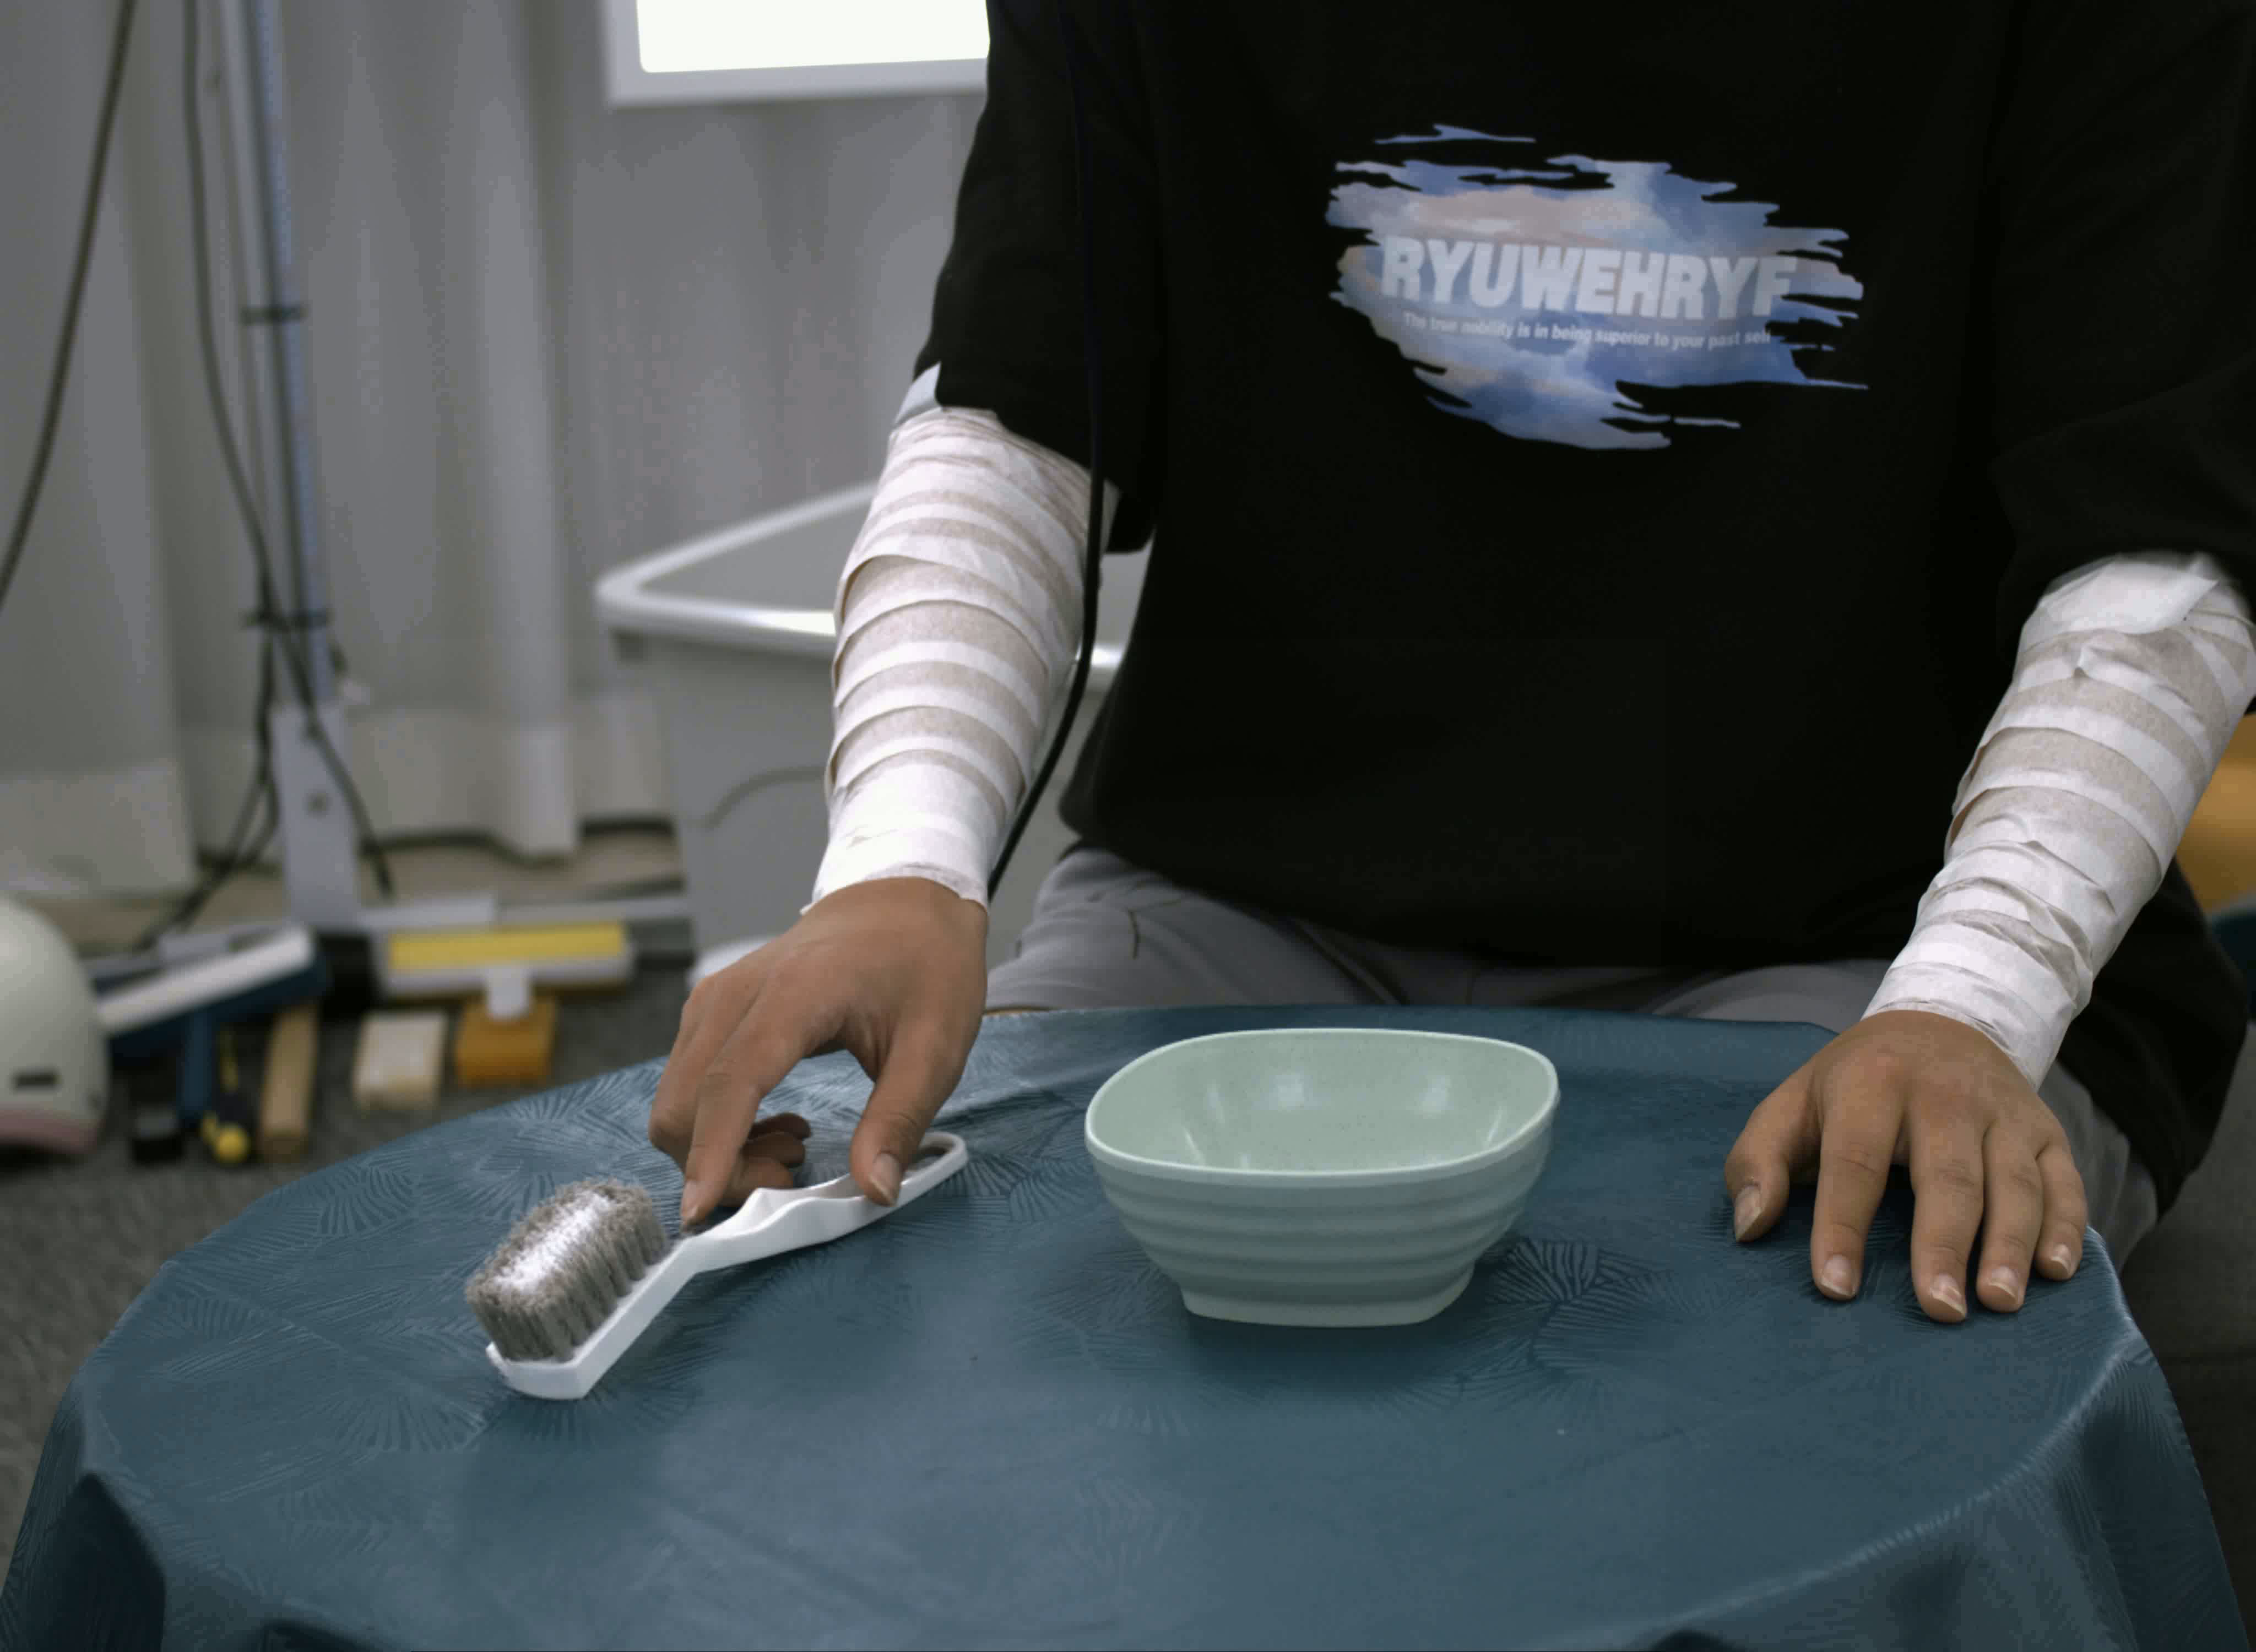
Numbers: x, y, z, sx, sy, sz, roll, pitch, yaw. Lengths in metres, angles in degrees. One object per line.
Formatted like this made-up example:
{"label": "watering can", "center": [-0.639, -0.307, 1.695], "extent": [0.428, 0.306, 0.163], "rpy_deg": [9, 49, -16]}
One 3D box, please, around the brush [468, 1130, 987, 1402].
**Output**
{"label": "brush", "center": [-0.114, 0.112, 1.644], "extent": [0.034, 0.050, 0.244], "rpy_deg": [9, 19, 30]}

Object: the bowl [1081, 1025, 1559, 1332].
{"label": "bowl", "center": [0.058, 0.108, 1.619], "extent": [0.151, 0.058, 0.152], "rpy_deg": [-1, 15, 0]}
